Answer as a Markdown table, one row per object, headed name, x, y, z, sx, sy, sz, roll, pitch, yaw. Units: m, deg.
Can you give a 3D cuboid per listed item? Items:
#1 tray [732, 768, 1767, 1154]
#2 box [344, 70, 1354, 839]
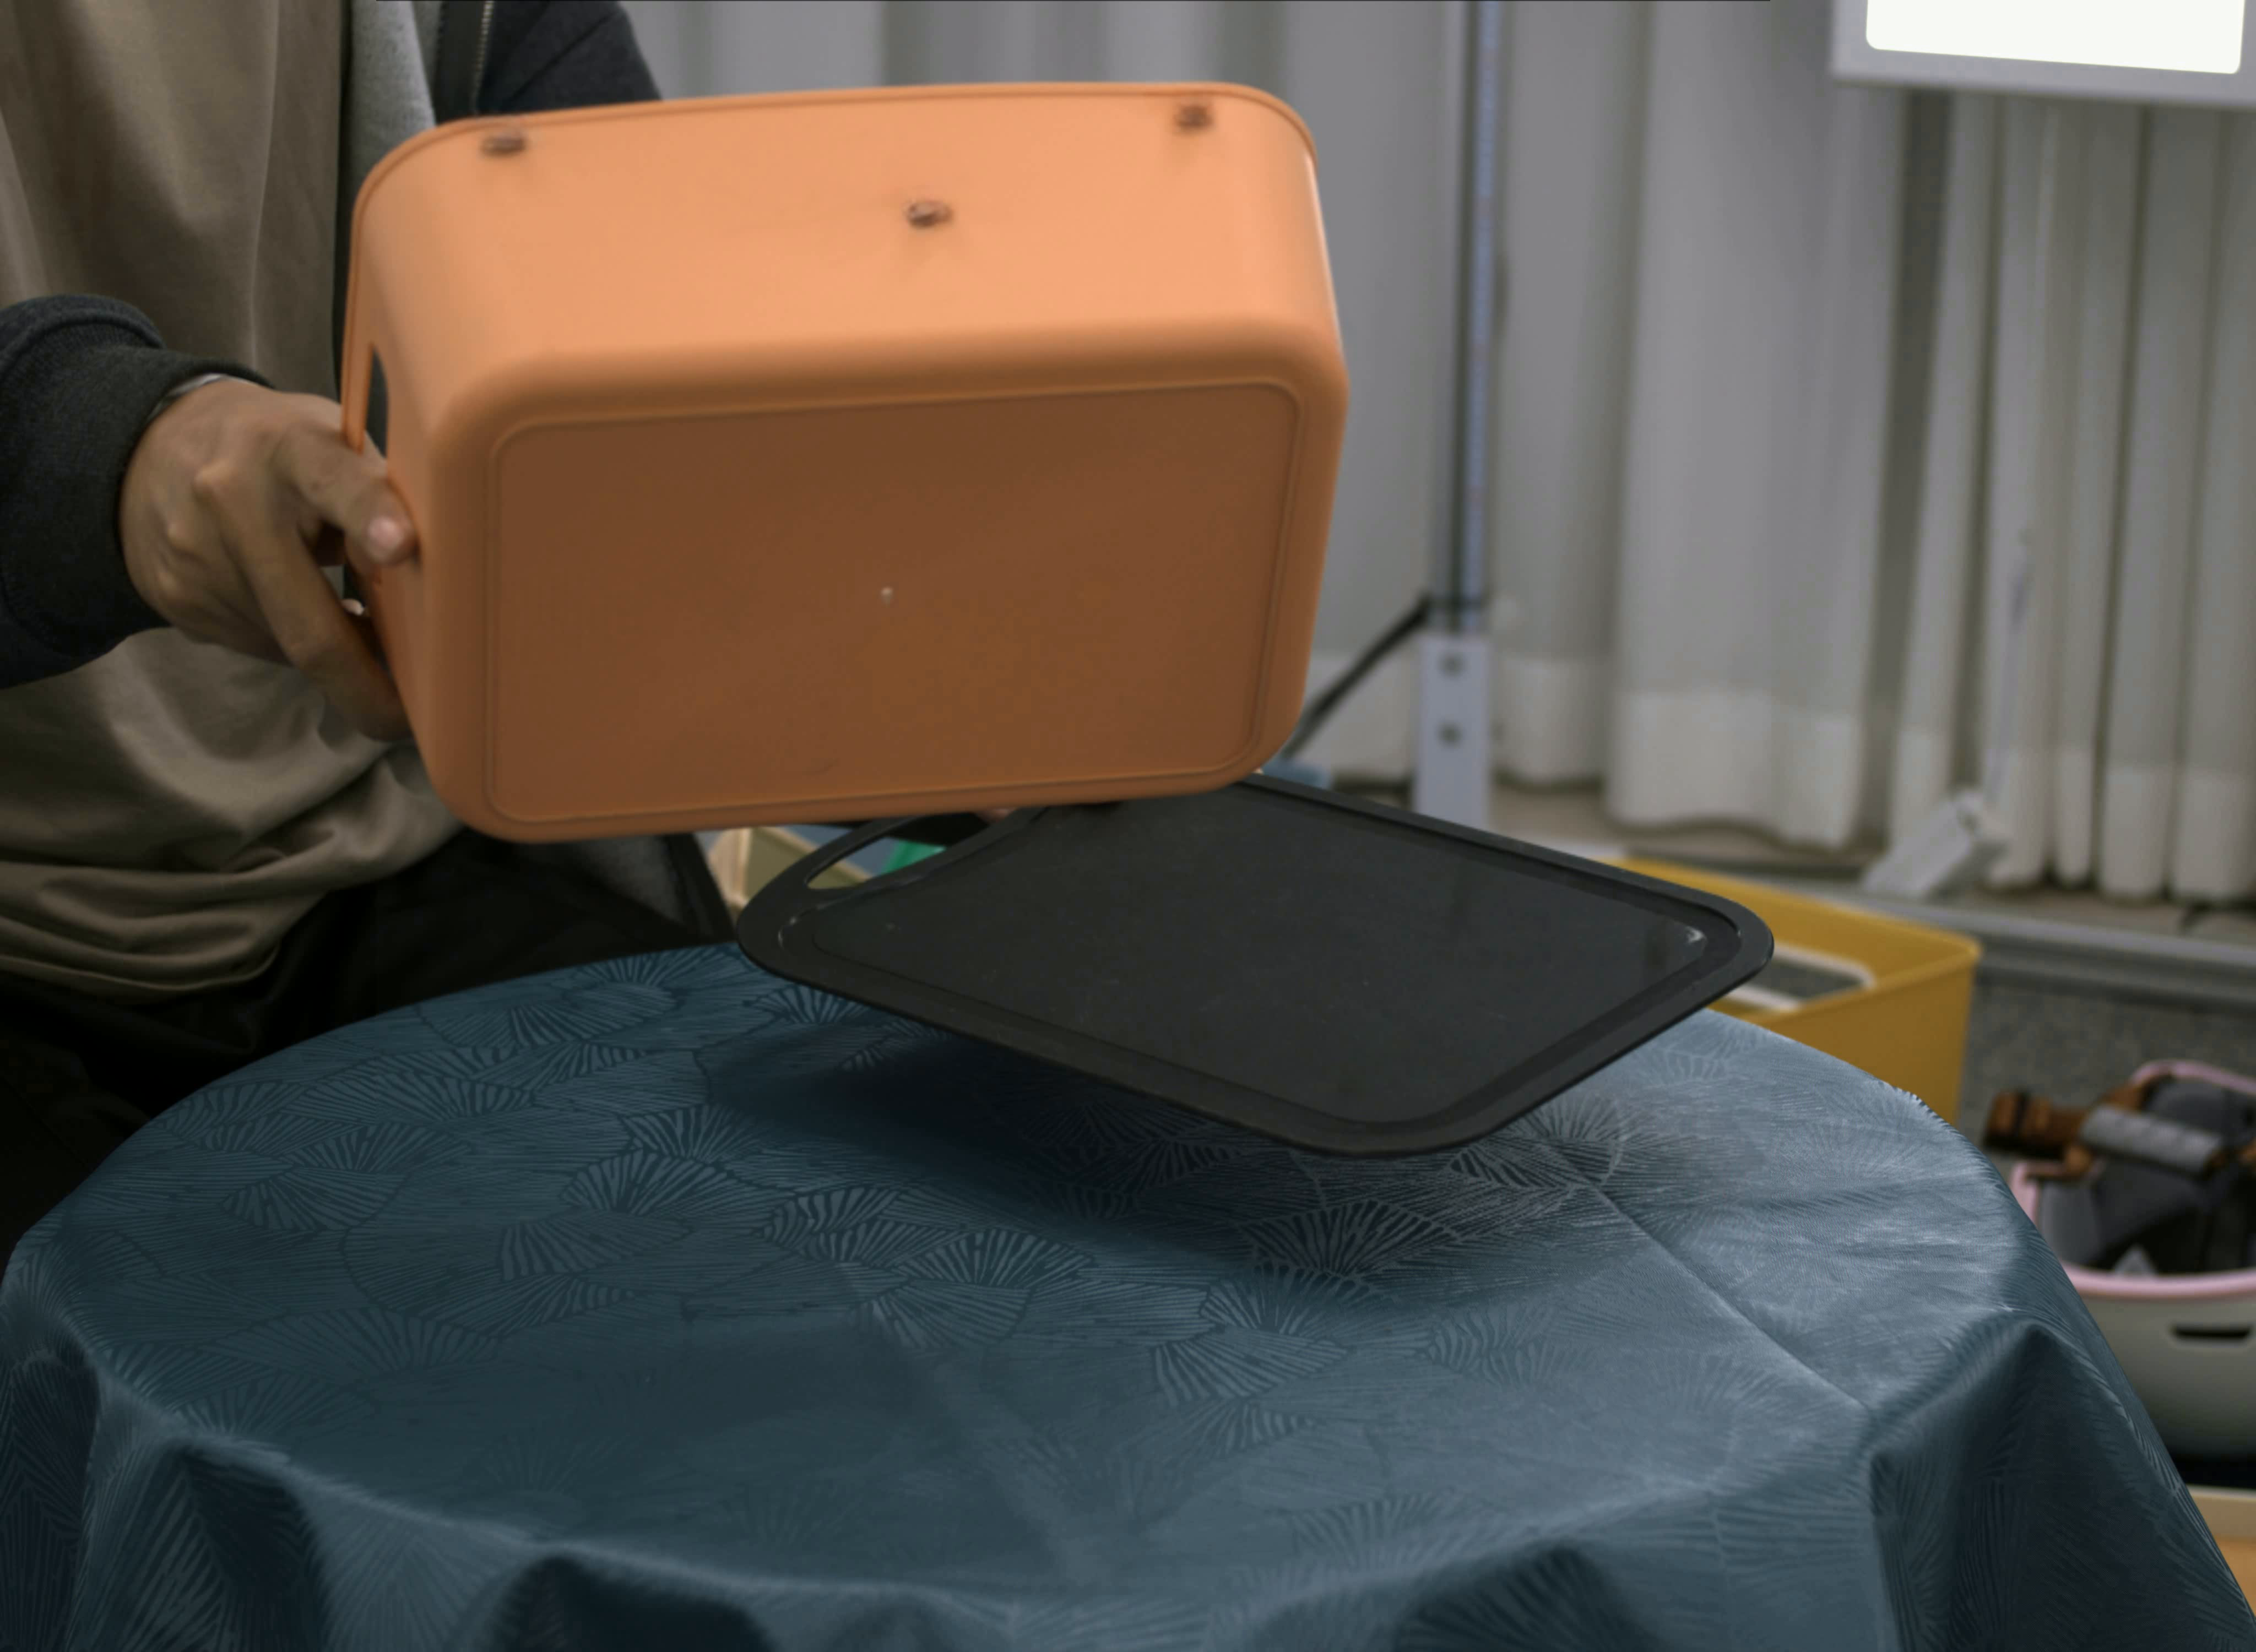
| name | x | y | z | sx | sy | sz | roll | pitch | yaw |
| --- | --- | --- | --- | --- | --- | --- | --- | --- | --- |
| tray | 0.029 | 0.033 | 1.683 | 0.321 | 0.010 | 0.211 | 16 | 30 | 39 |
| box | -0.074 | -0.095 | 1.433 | 0.273 | 0.201 | 0.101 | -4 | 46 | -12 |
